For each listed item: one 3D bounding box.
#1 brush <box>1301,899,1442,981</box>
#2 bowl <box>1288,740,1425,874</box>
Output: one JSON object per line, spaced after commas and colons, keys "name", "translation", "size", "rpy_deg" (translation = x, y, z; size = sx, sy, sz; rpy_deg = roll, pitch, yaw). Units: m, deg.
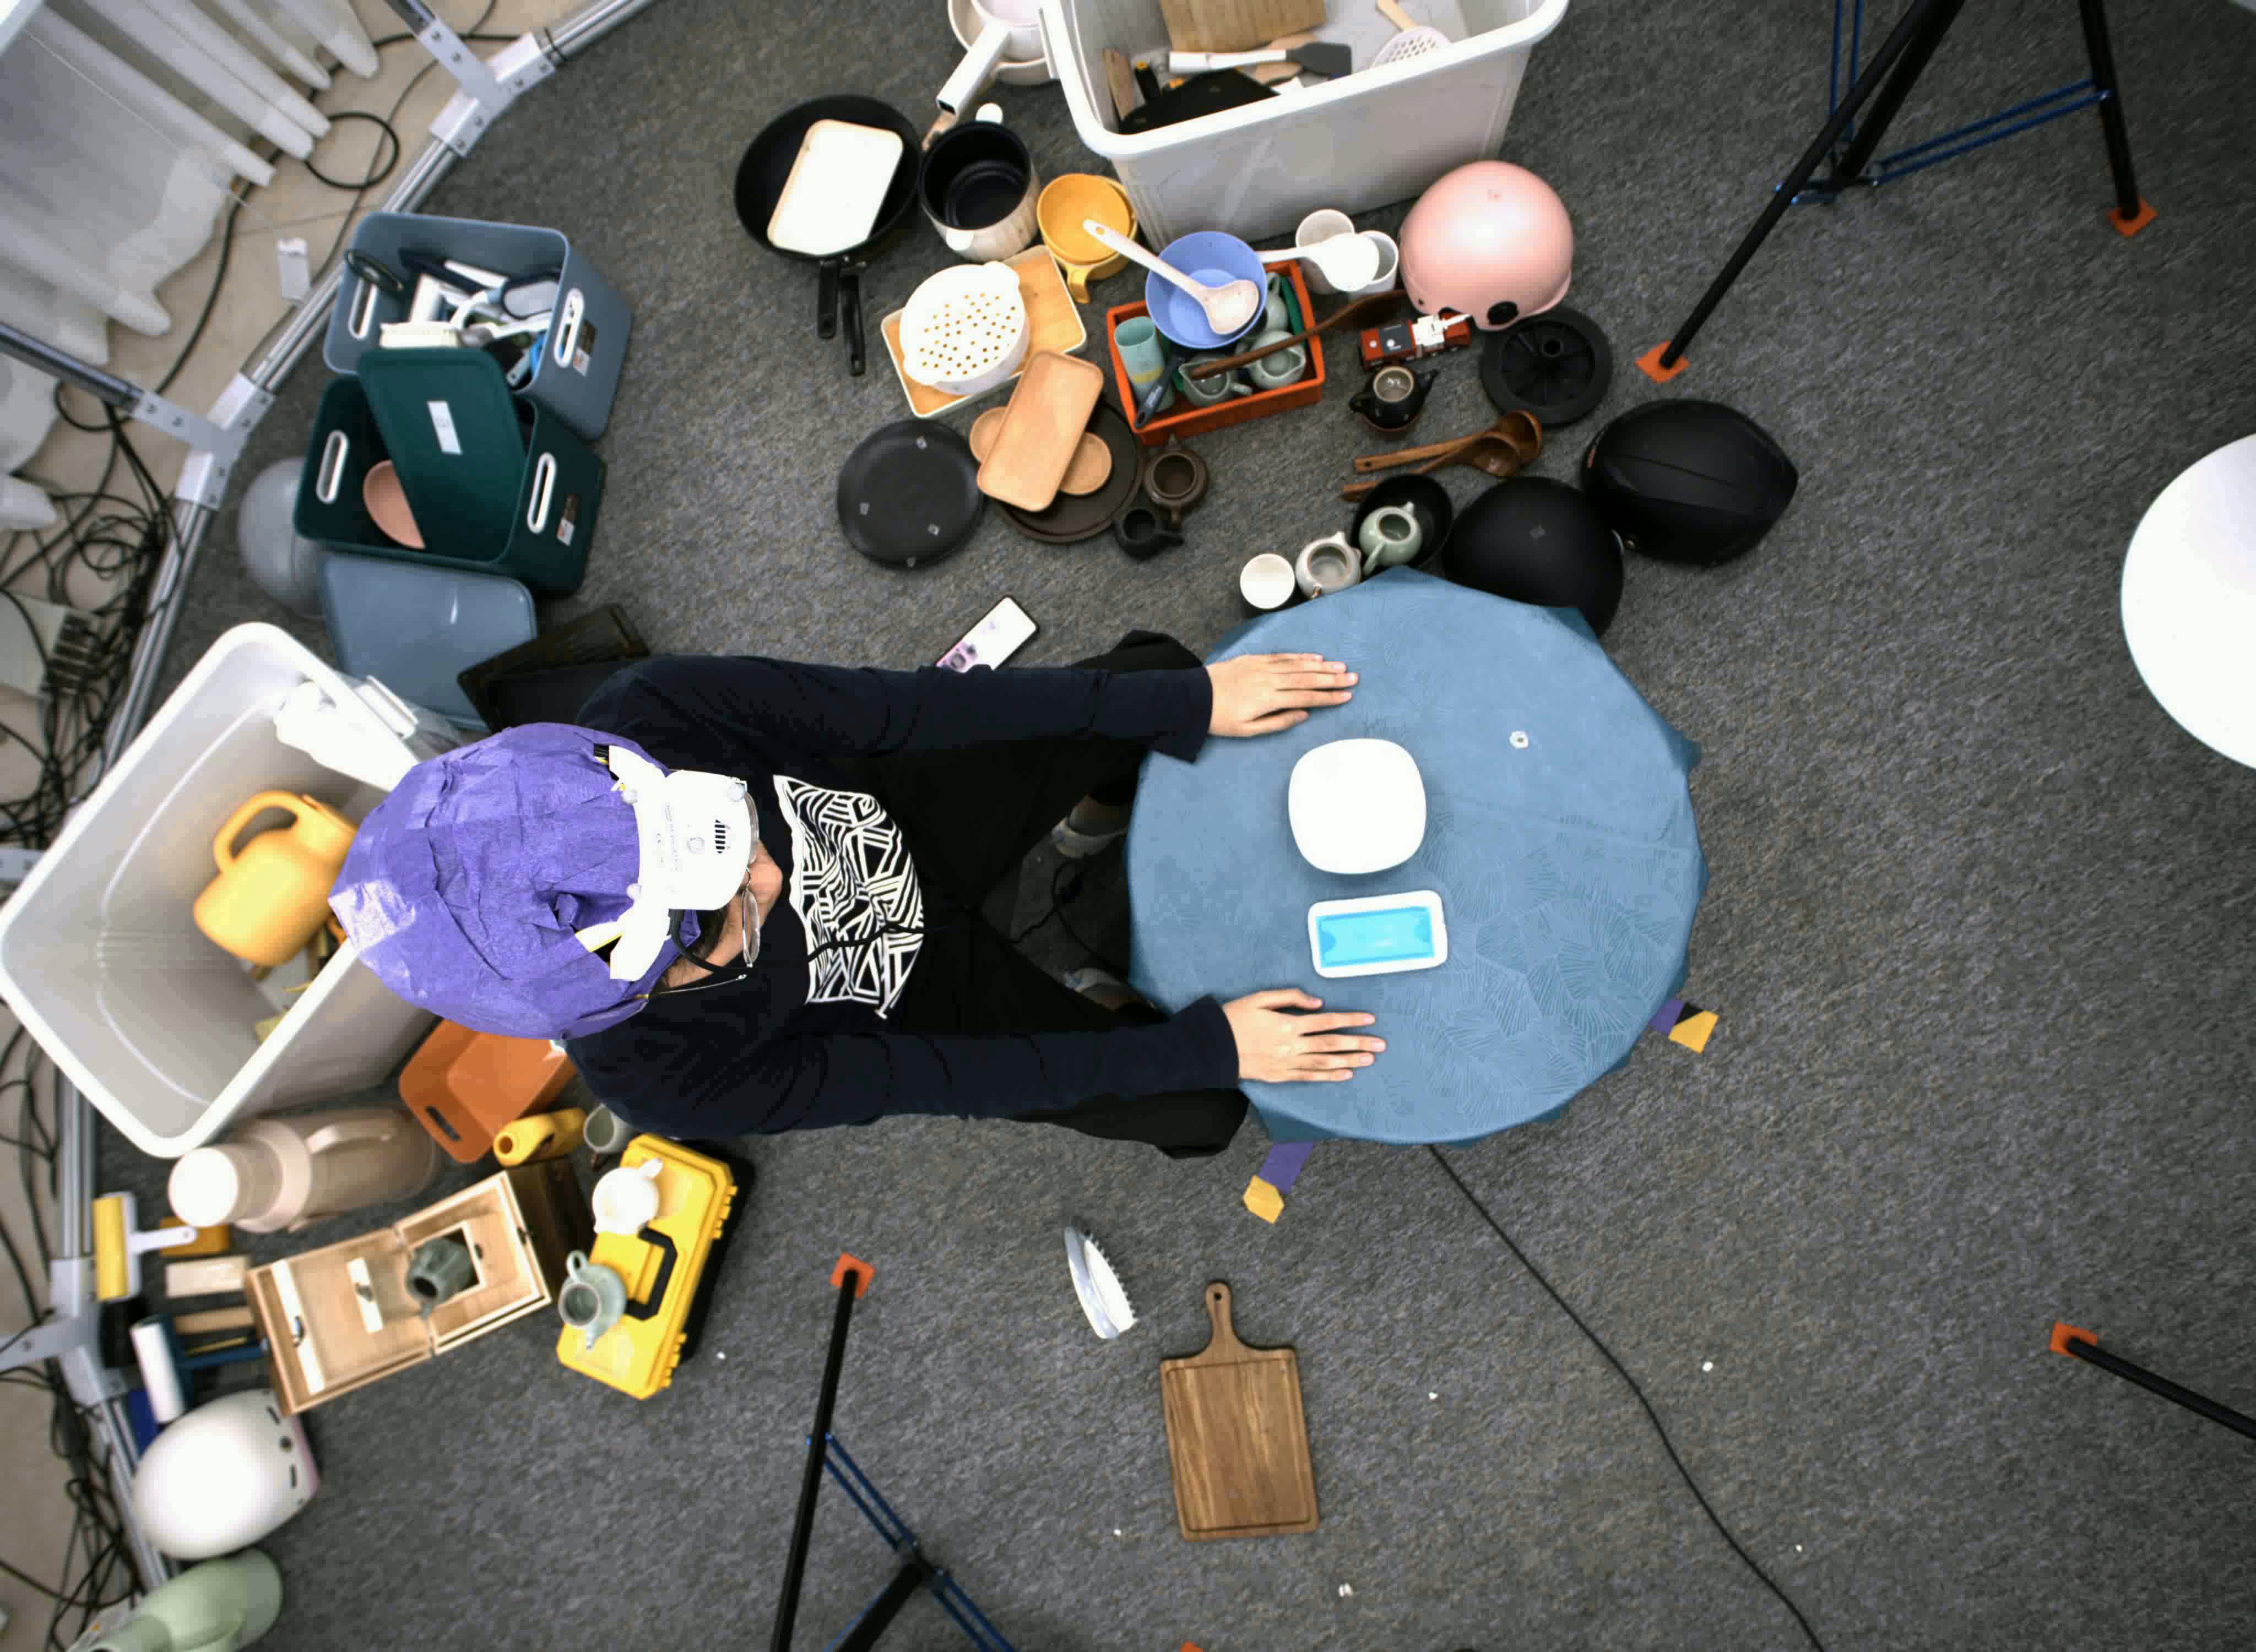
{"name": "brush", "translation": [0.251, 0.113, 1.429], "size": [0.144, 0.056, 0.083], "rpy_deg": [-5, 81, 9]}
{"name": "bowl", "translation": [0.239, -0.018, 1.442], "size": [0.152, 0.059, 0.150], "rpy_deg": [-1, 84, 11]}
